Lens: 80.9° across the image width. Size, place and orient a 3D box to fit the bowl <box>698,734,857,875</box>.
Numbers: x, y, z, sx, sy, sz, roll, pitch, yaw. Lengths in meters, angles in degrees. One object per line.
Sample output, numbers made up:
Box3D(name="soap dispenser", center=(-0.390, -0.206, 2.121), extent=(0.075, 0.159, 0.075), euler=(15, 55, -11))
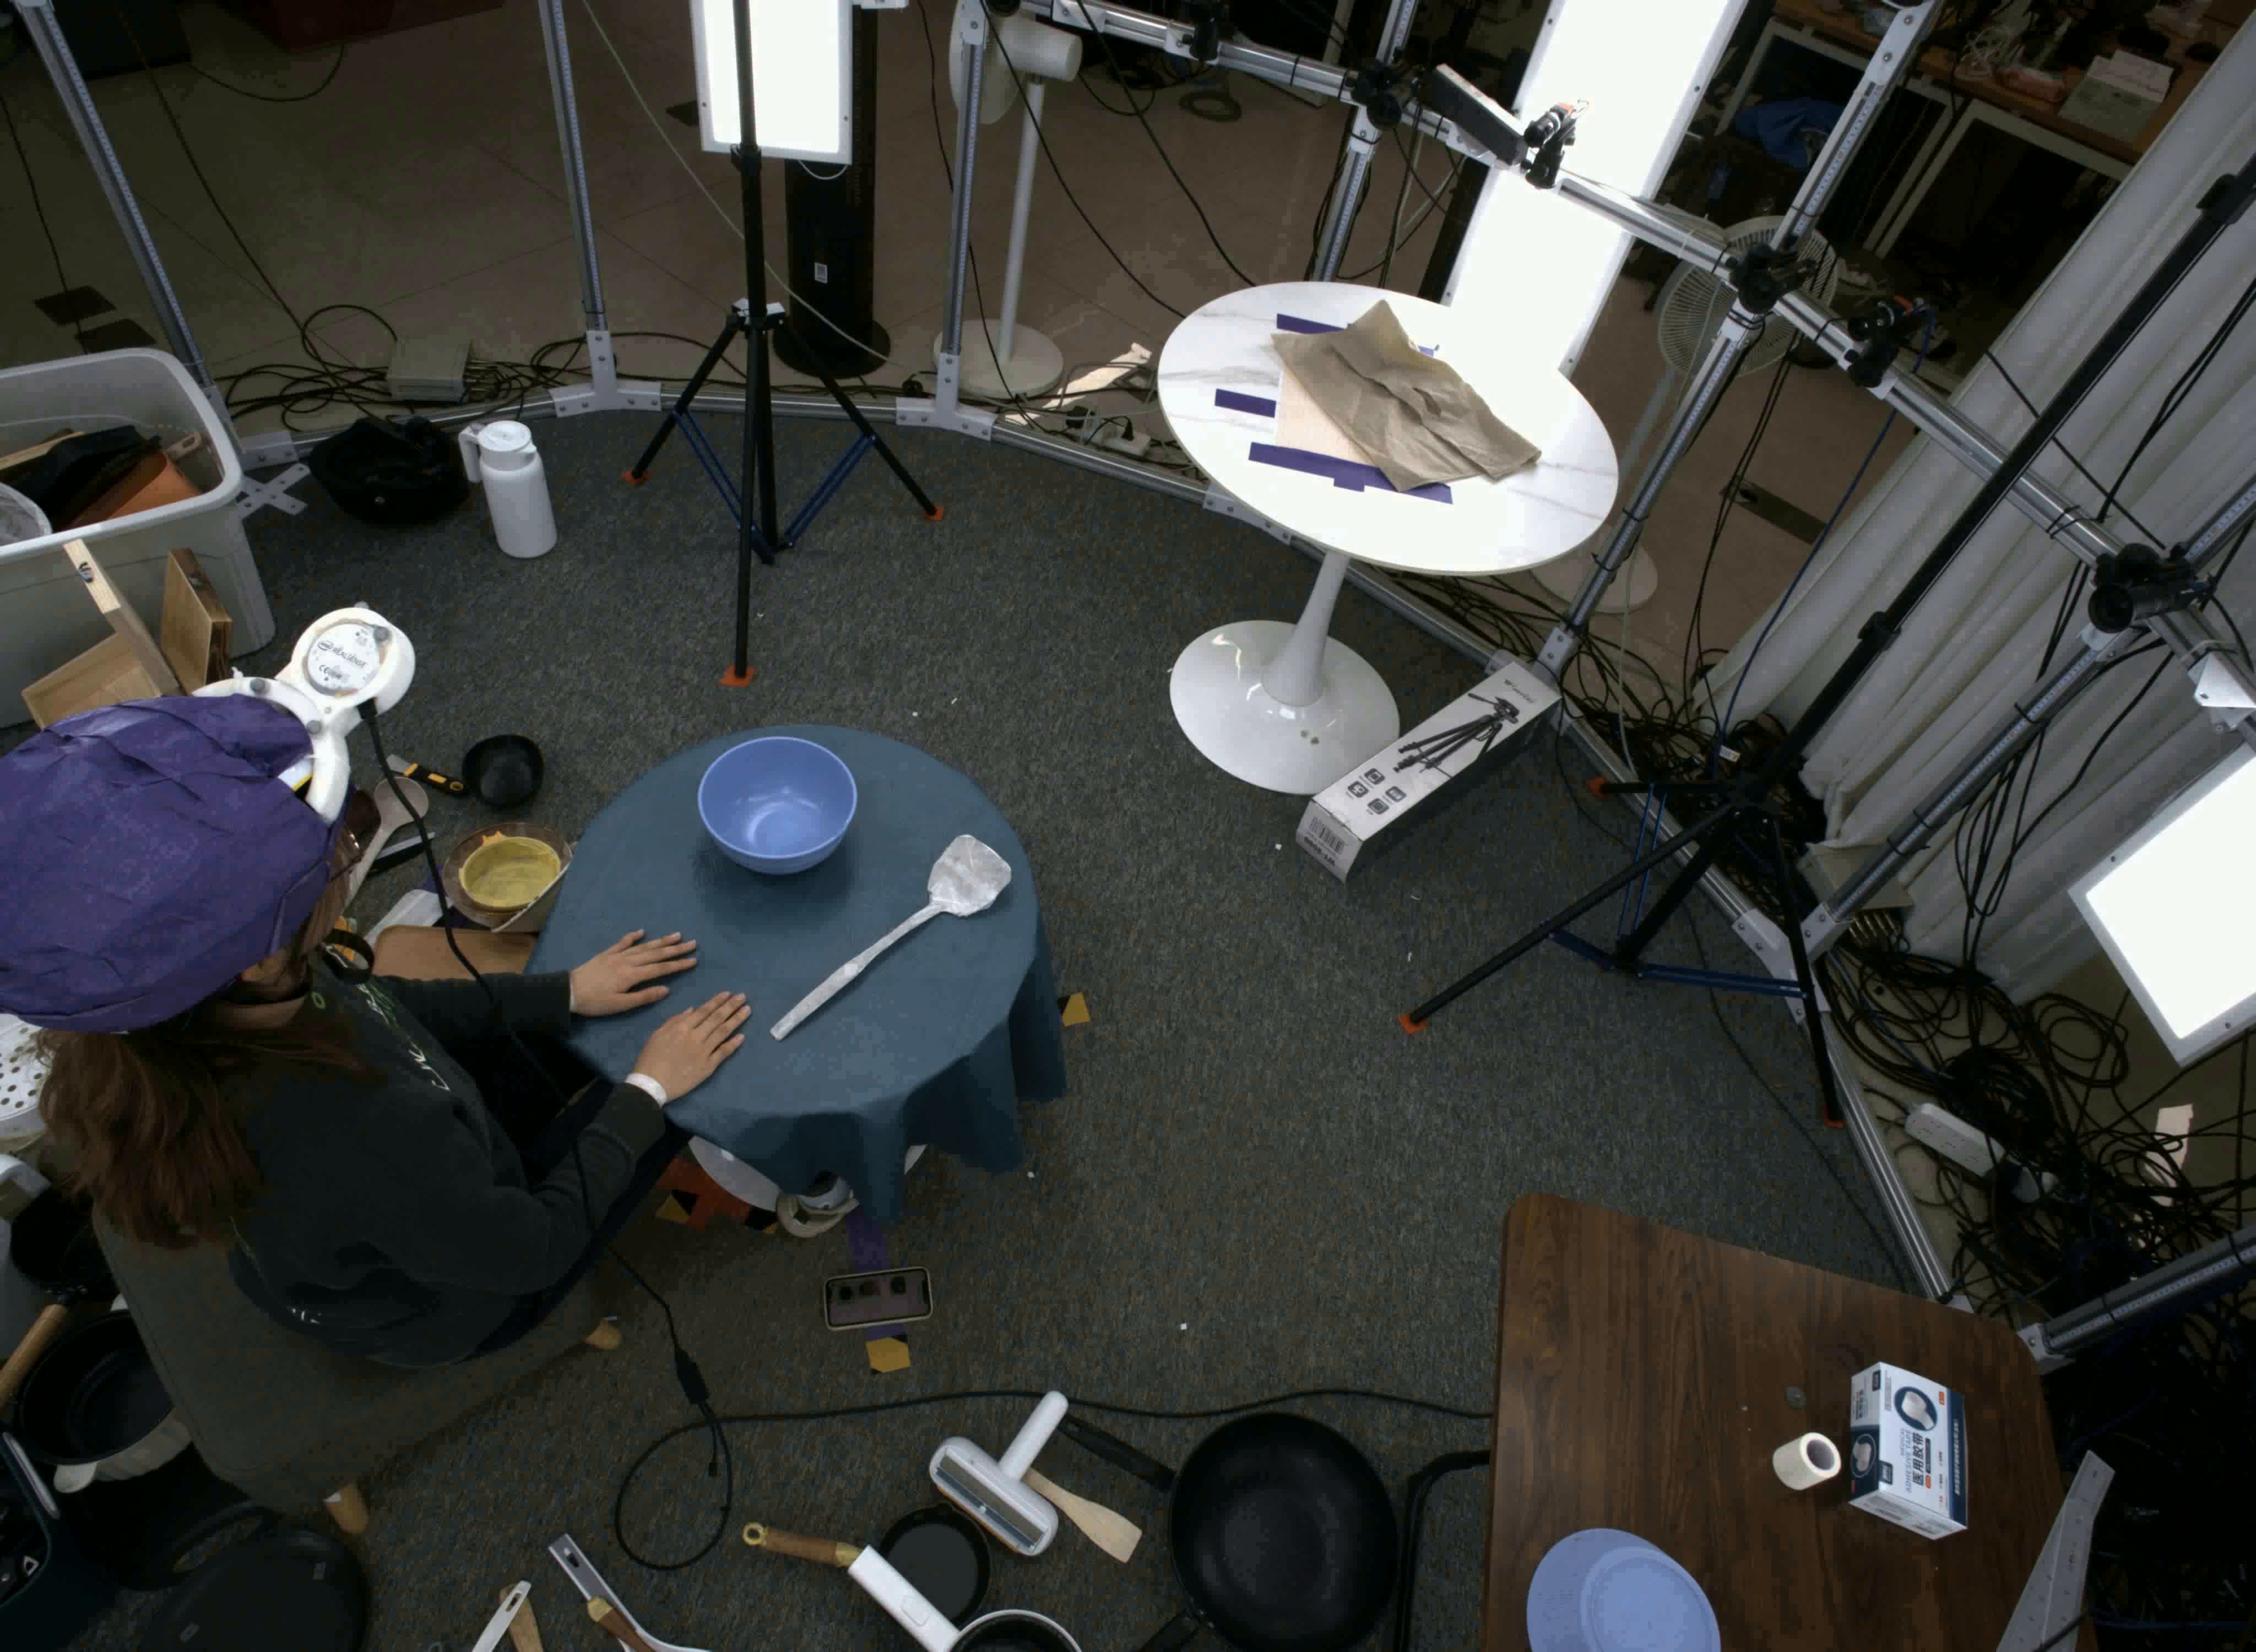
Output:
Box3D(name="bowl", center=(-0.450, -0.013, 1.670), extent=(0.196, 0.097, 0.193), euler=(9, 52, -10))

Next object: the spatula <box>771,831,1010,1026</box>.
Box3D(name="spatula", center=(-0.300, 0.134, 1.637), extent=(0.097, 0.045, 0.365), euler=(41, 55, 15))
